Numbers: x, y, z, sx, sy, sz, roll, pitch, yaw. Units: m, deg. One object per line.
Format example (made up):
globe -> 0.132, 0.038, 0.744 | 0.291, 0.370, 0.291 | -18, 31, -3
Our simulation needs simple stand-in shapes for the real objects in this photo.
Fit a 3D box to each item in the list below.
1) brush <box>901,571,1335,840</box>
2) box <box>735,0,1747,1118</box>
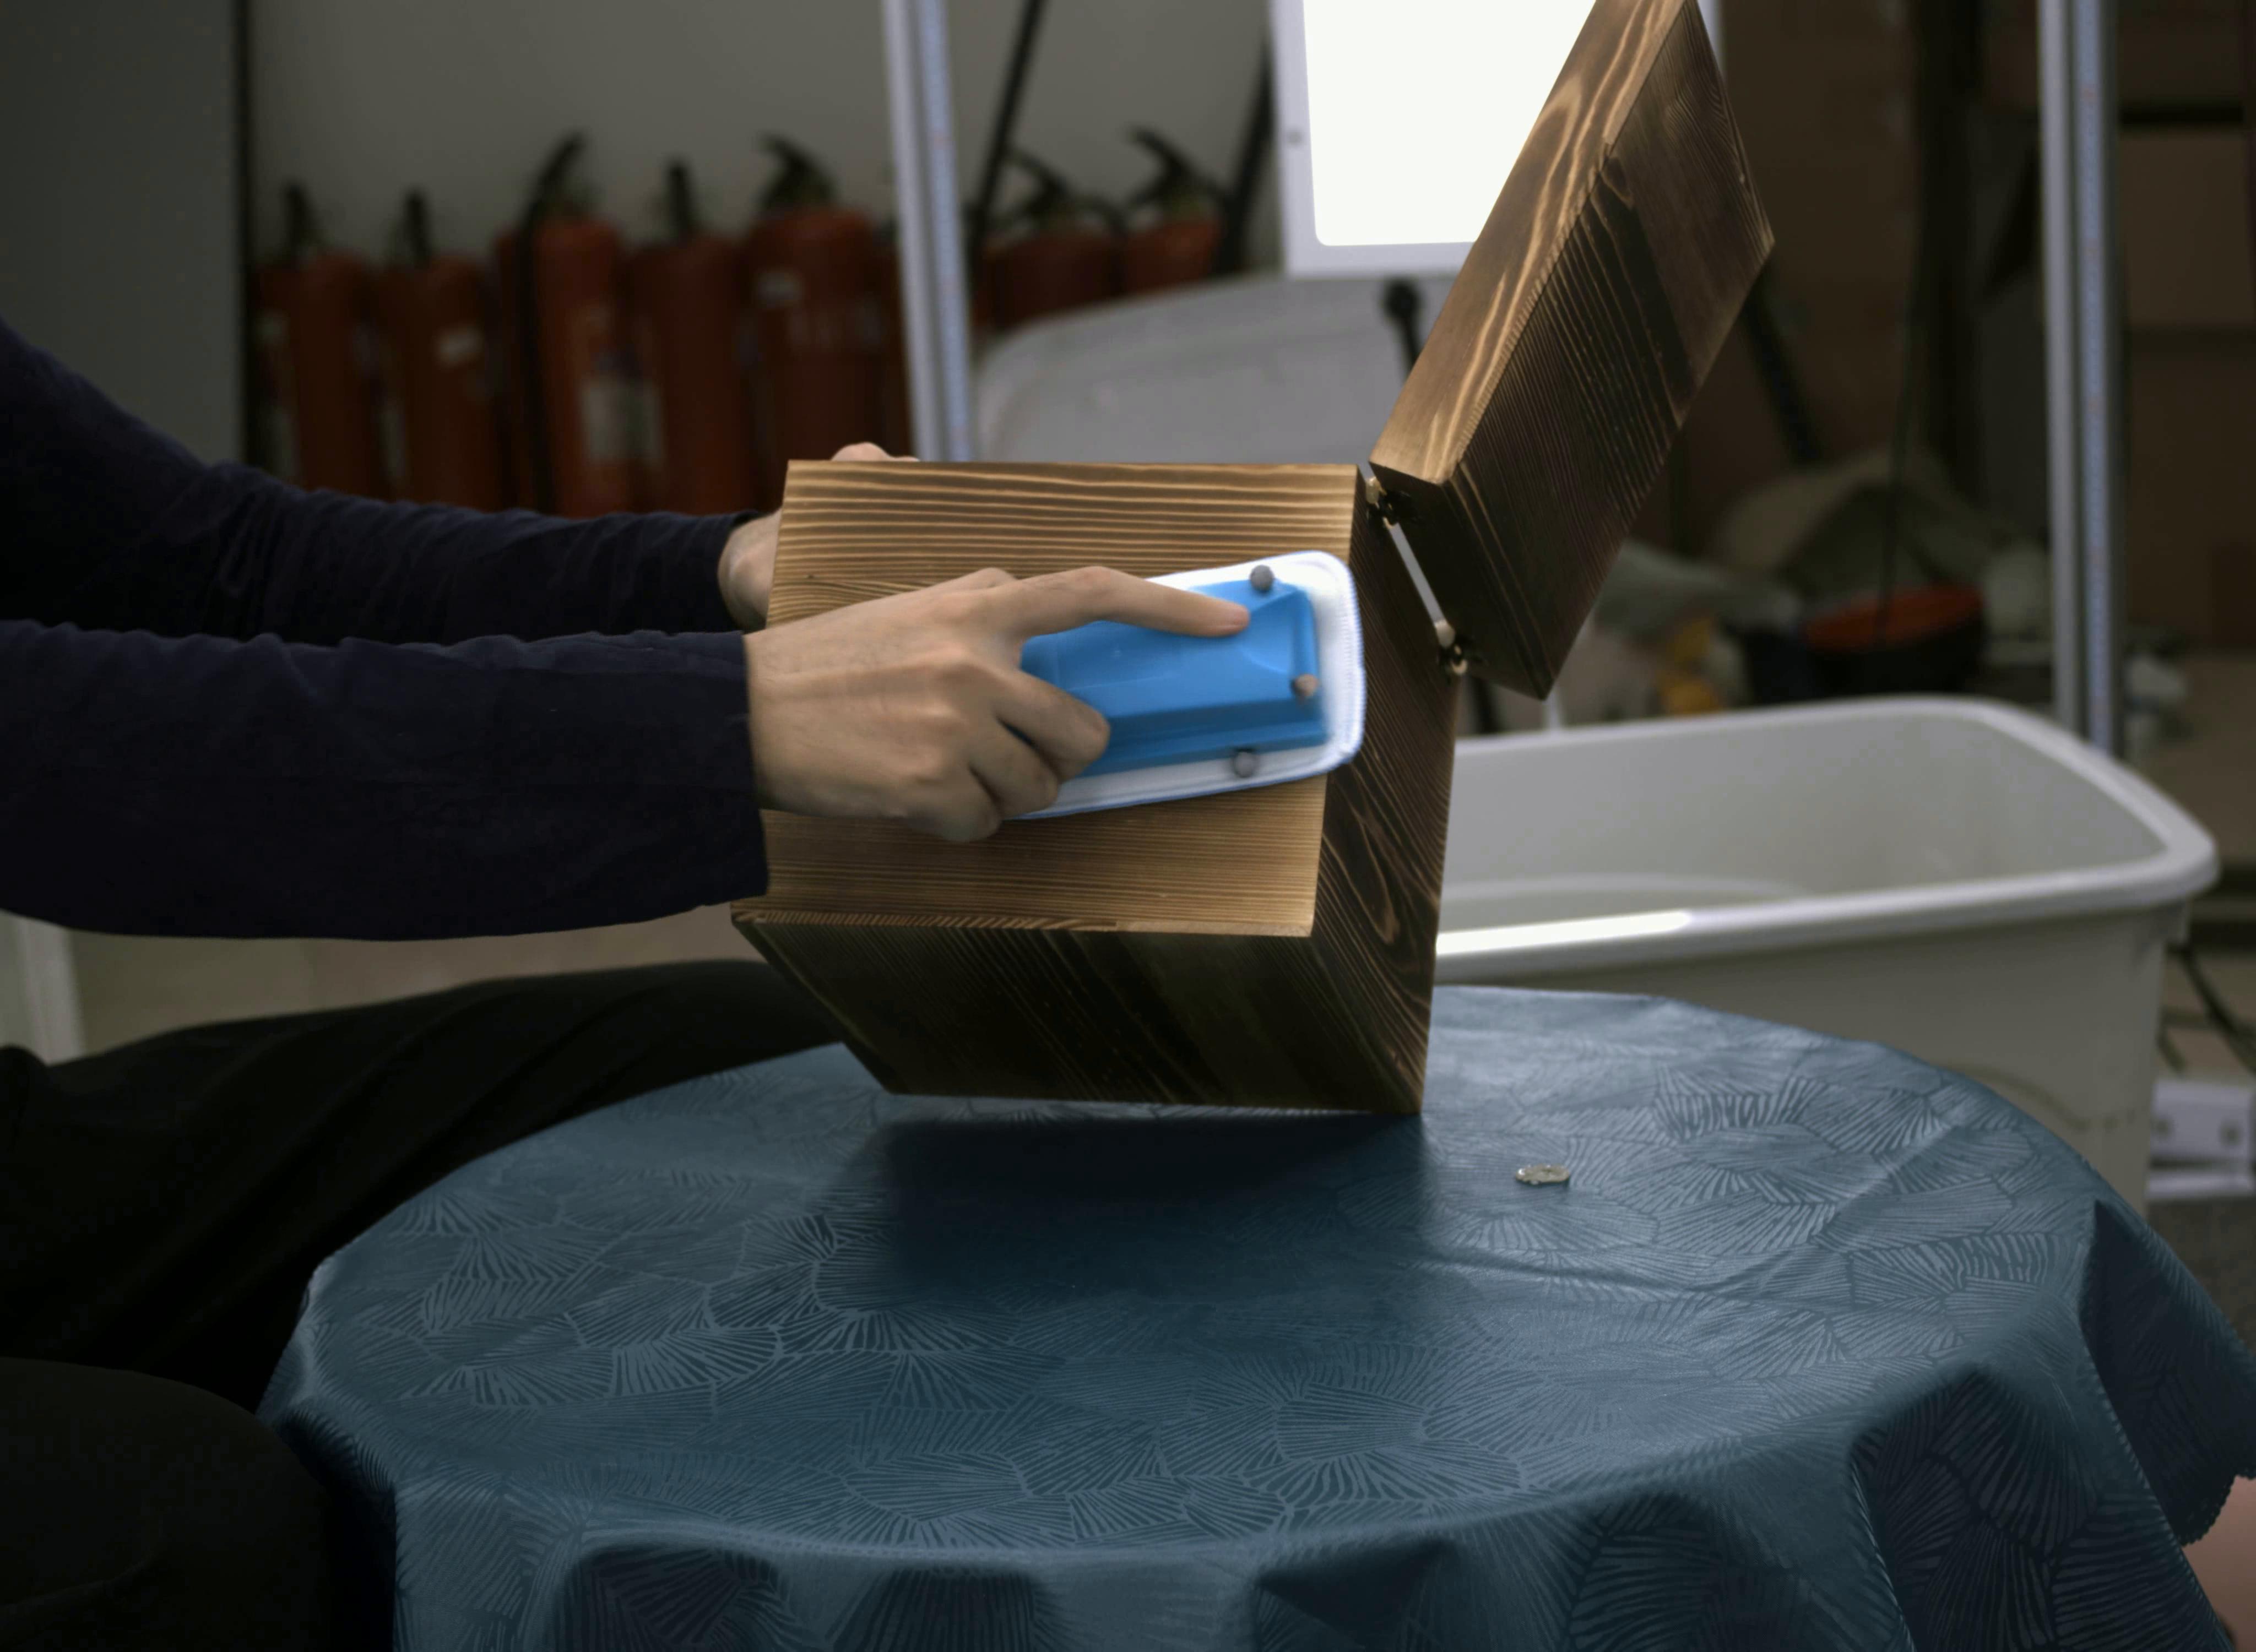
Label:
brush -> -0.006, -0.047, 1.788 | 0.144, 0.084, 0.055 | -9, -25, 9
box -> 0.053, -0.100, 1.942 | 0.325, 0.375, 0.207 | 1, -19, 16
